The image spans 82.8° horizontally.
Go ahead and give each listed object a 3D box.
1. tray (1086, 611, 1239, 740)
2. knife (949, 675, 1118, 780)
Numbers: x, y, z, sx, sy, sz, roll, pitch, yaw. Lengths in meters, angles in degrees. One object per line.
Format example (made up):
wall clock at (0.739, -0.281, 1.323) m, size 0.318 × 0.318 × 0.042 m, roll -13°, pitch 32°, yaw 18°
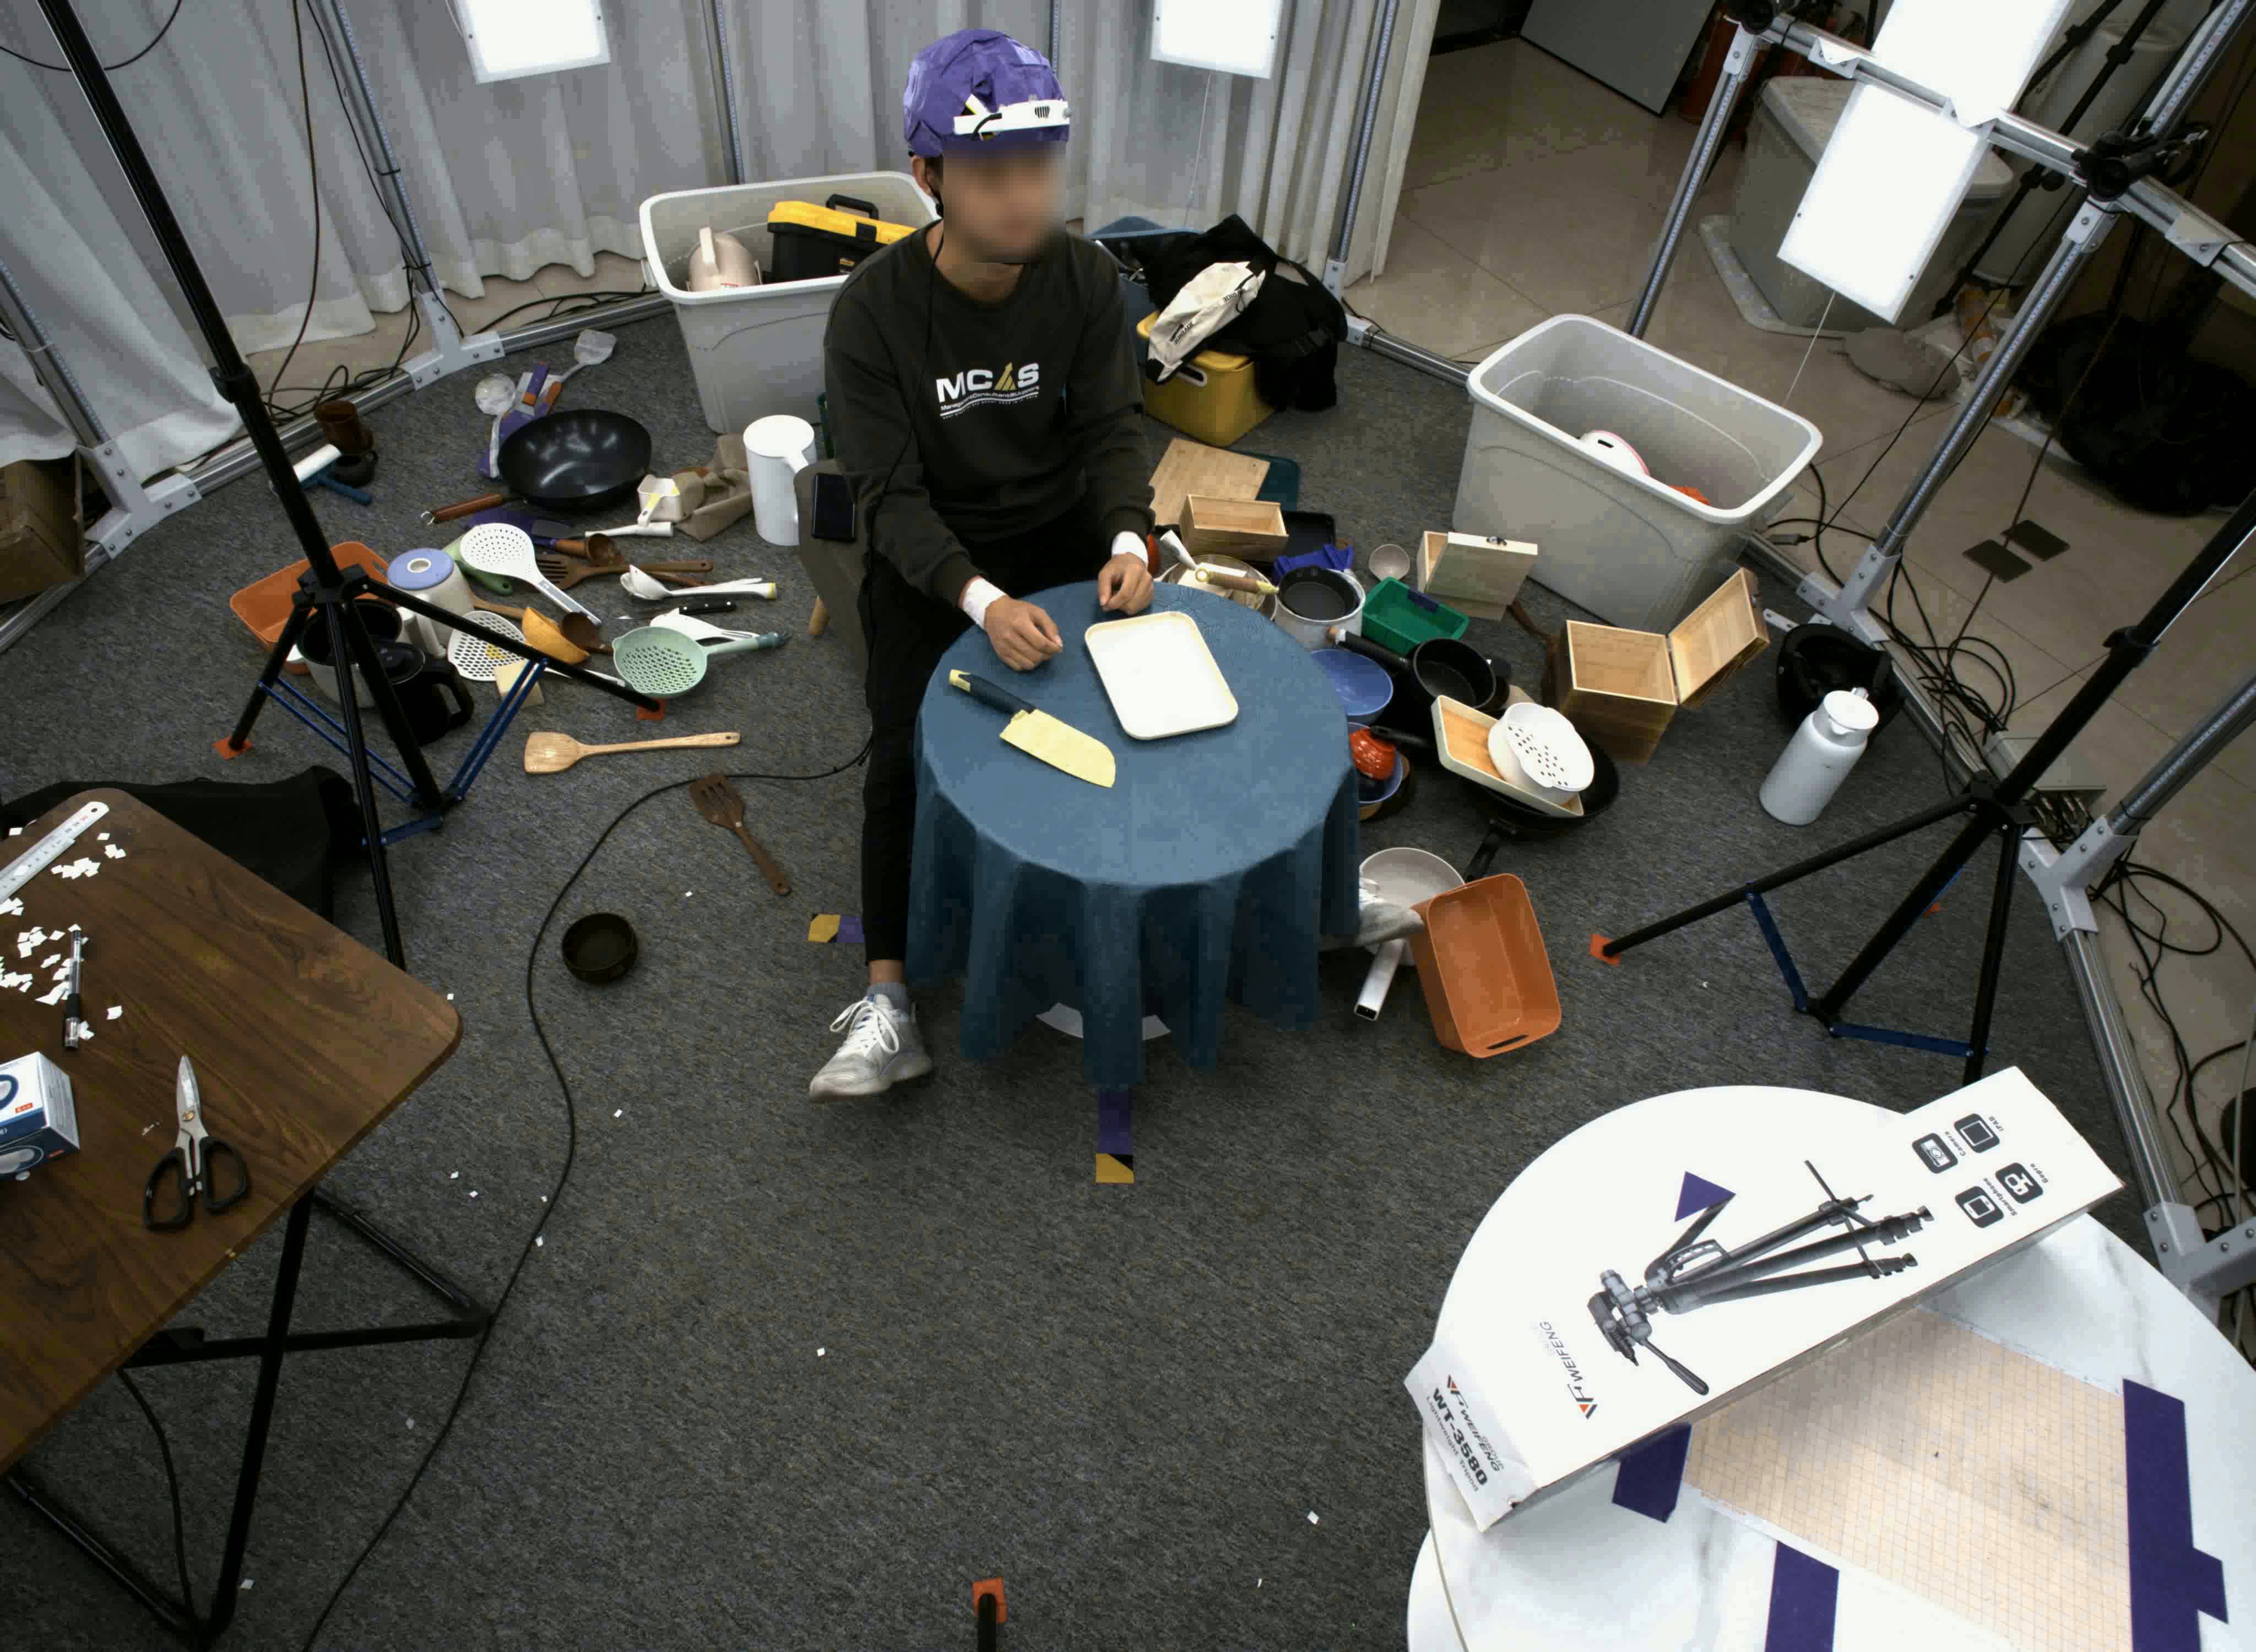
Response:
tray at (0.046, -0.219, 1.848) m, size 0.171 × 0.017 × 0.245 m, roll -12°, pitch 51°, yaw -13°
knife at (-0.136, -0.135, 1.766) m, size 0.292 × 0.026 × 0.082 m, roll 29°, pitch 52°, yaw 19°
